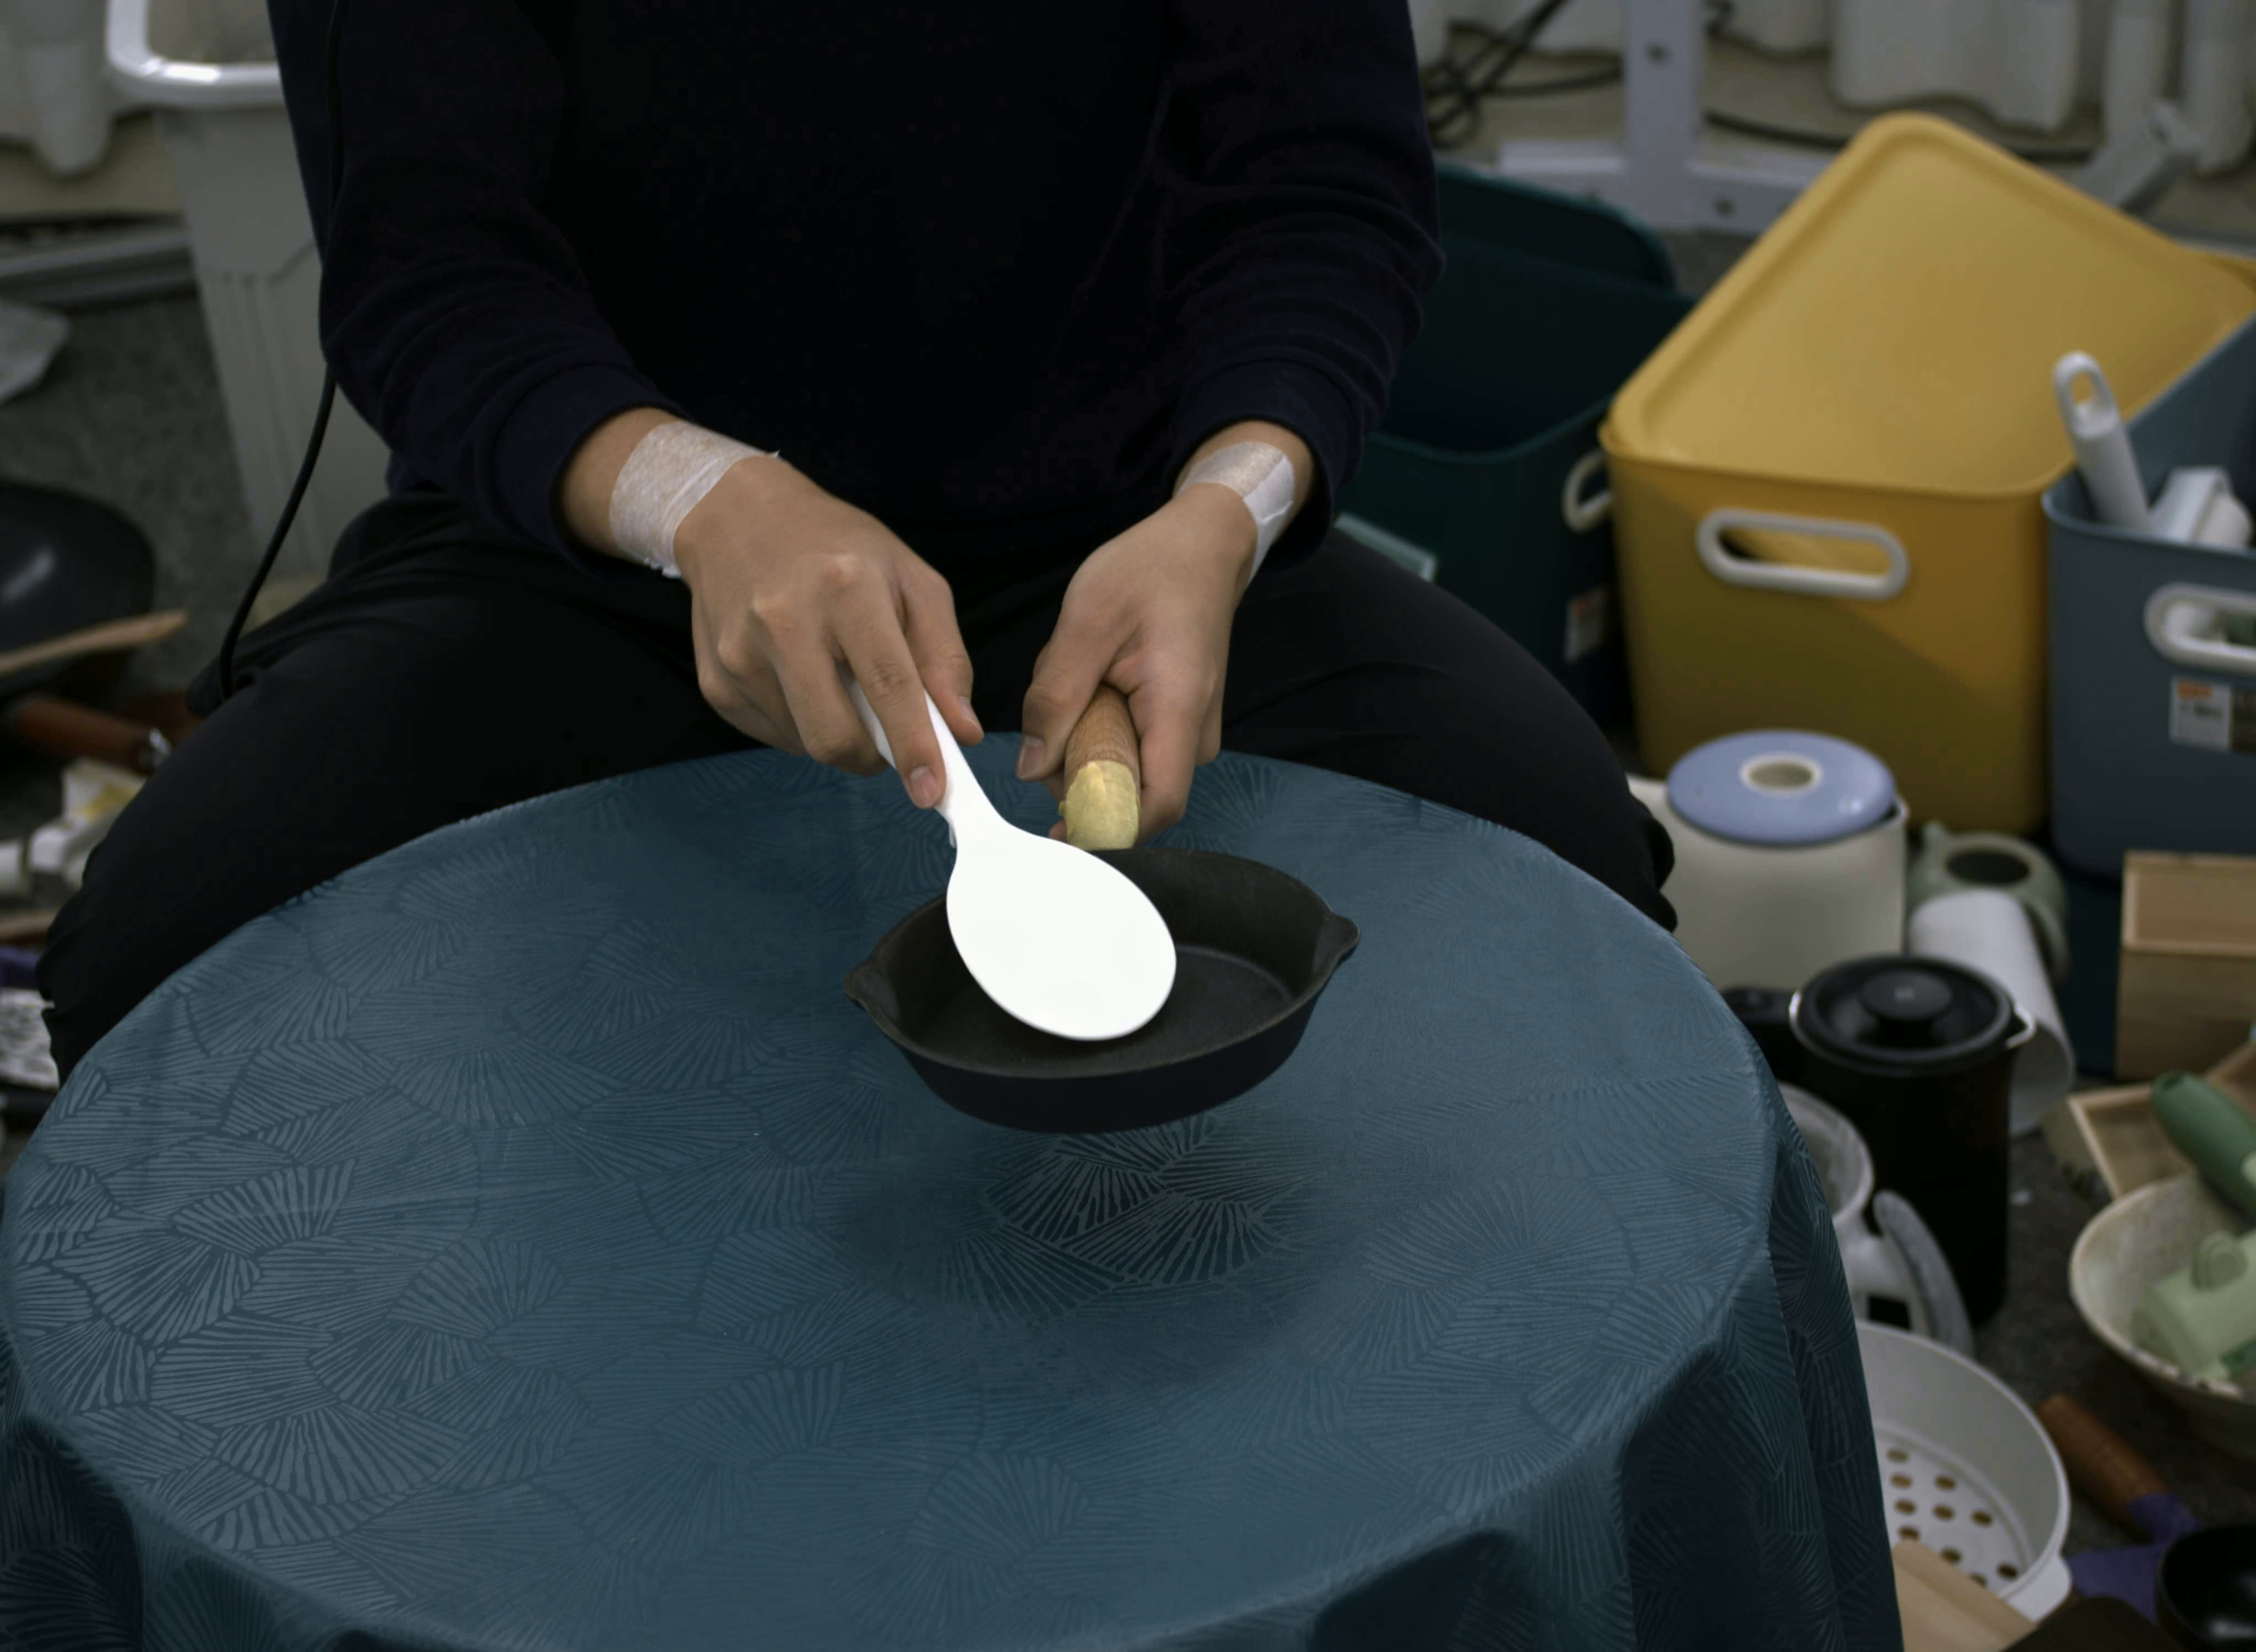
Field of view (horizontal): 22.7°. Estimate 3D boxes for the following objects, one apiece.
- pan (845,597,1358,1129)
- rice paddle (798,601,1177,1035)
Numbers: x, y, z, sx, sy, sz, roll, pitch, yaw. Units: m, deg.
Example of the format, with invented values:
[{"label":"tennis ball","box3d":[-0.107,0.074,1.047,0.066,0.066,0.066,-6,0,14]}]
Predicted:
[{"label":"pan","box3d":[-0.006,0.010,1.910,0.168,0.049,0.329,-5,27,4]},{"label":"rice paddle","box3d":[-0.050,-0.002,1.893,0.069,0.029,0.207,-21,50,-22]}]
